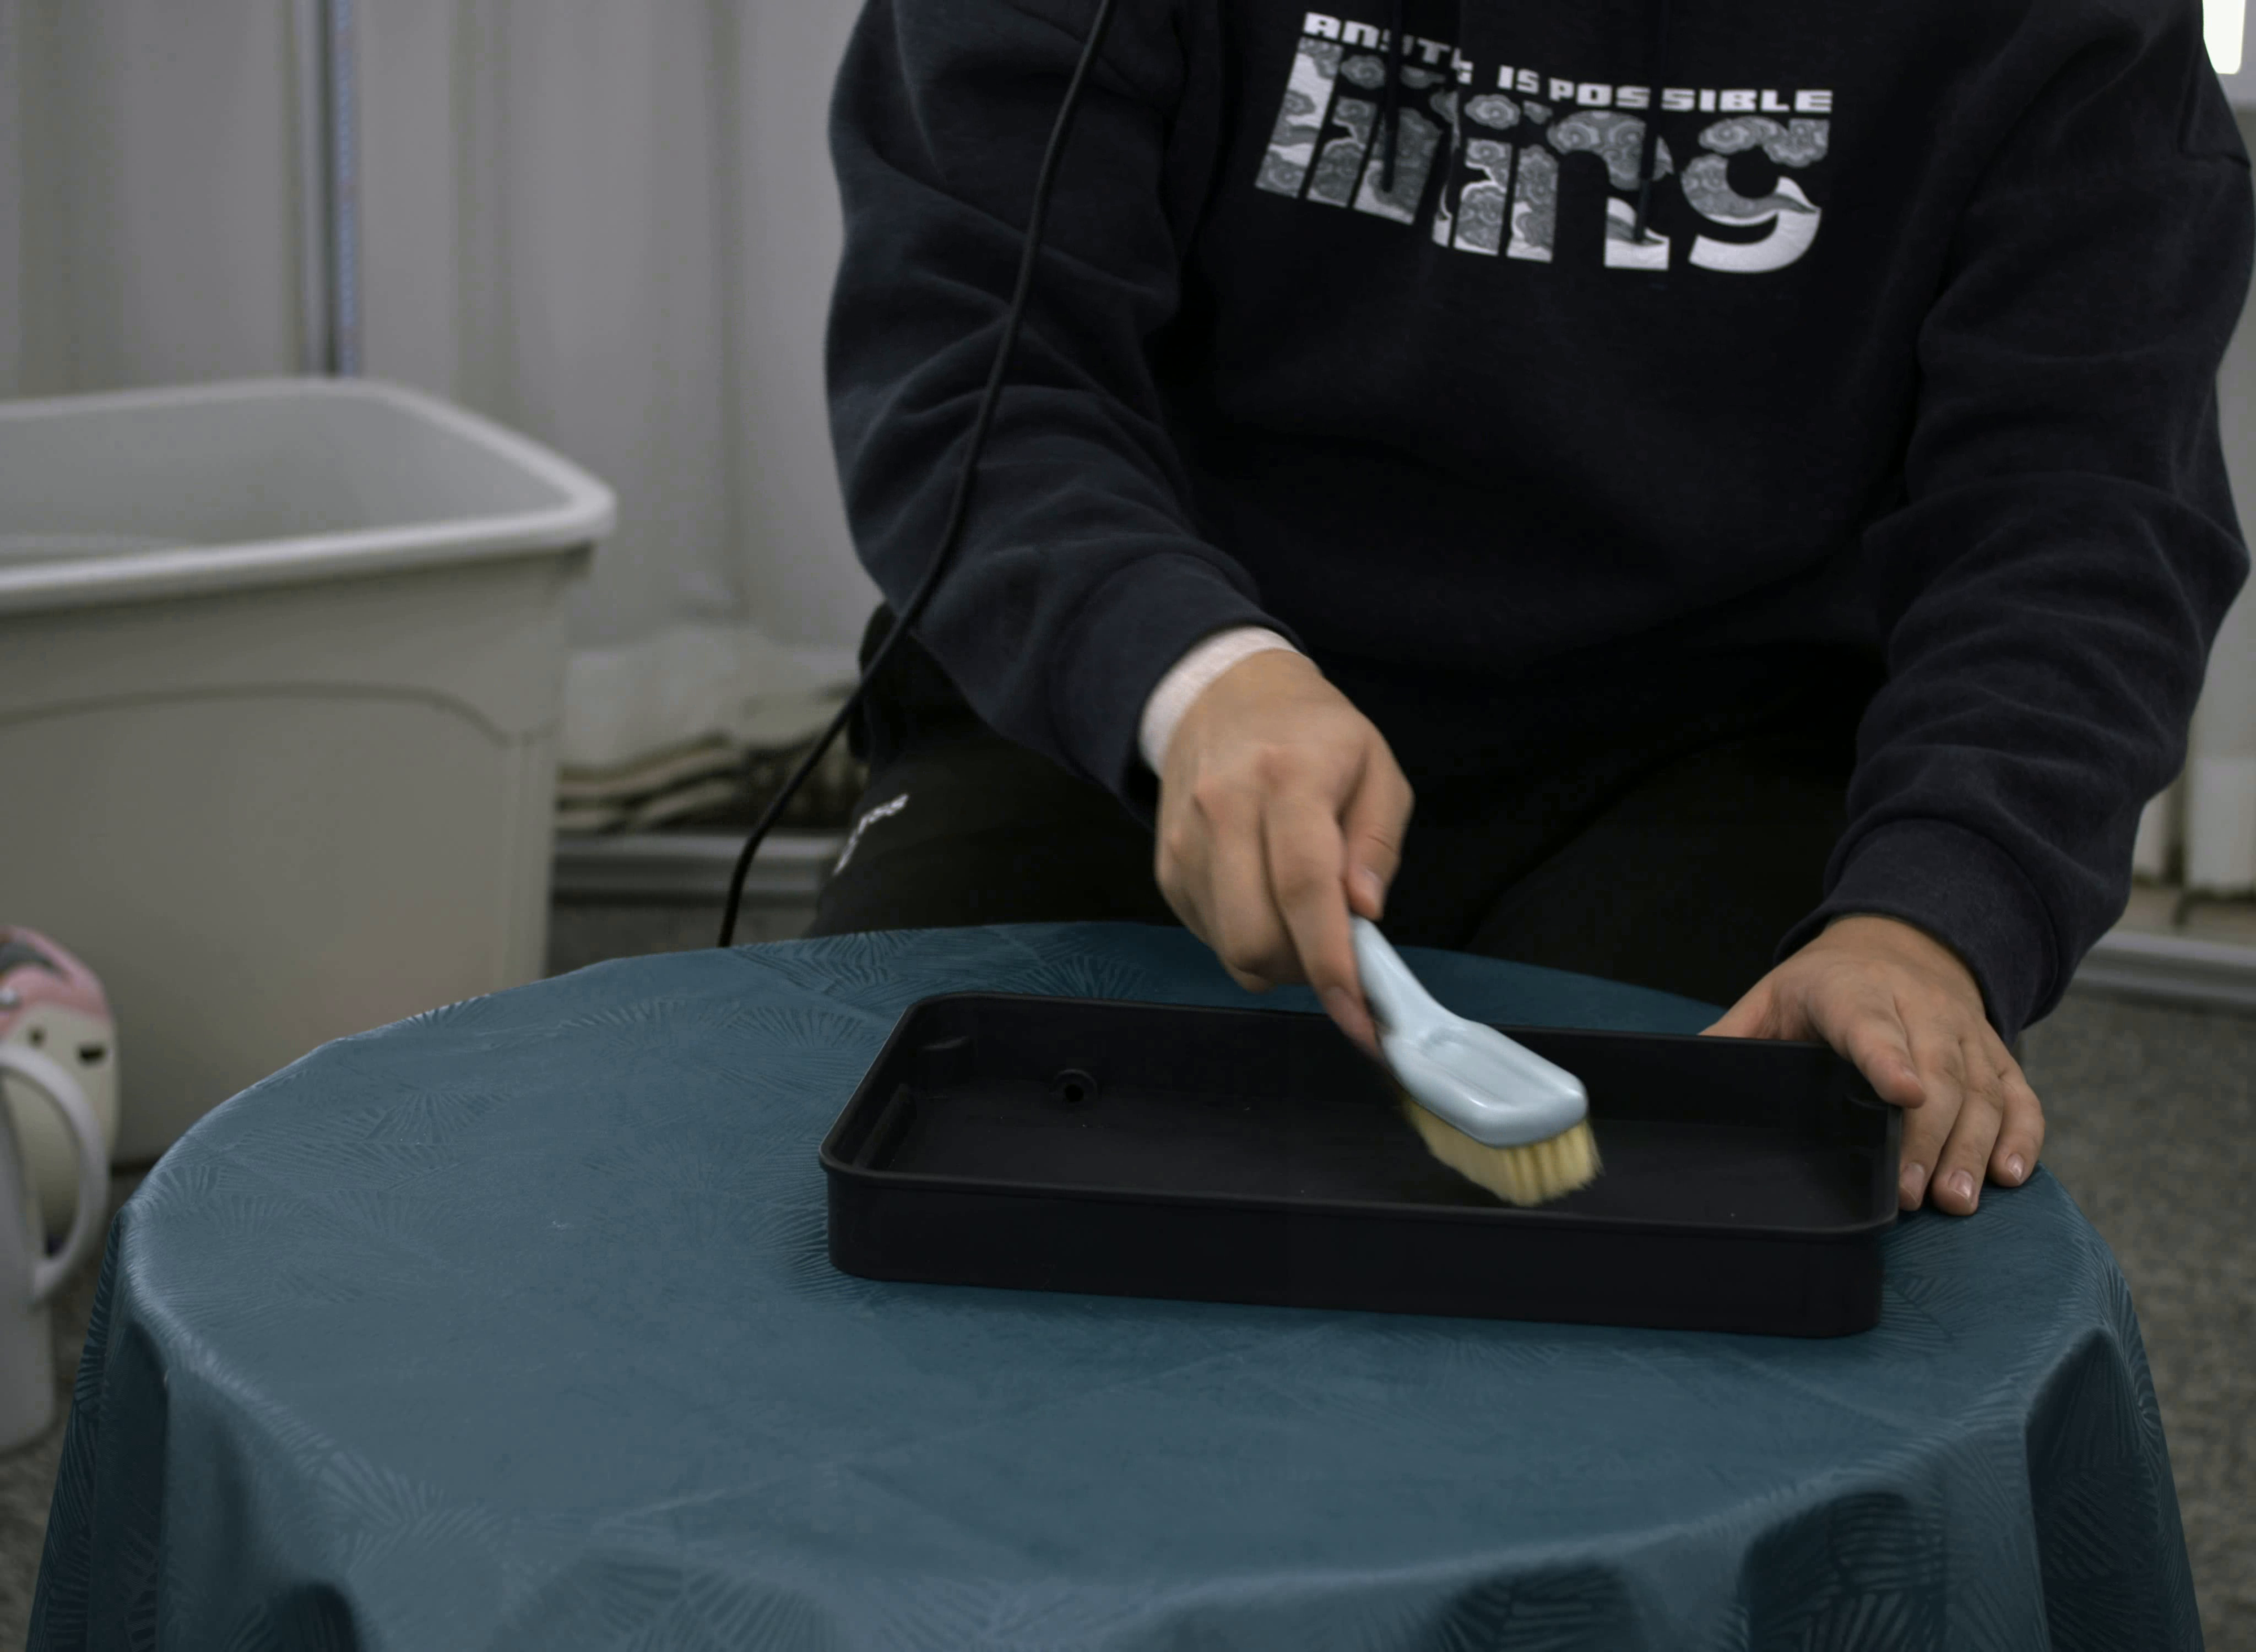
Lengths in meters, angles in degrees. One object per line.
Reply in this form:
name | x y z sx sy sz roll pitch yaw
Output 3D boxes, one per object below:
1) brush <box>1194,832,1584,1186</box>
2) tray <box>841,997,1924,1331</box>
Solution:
brush | 0.077 0.055 1.648 0.038 0.050 0.225 -27 32 -15
tray | 0.081 0.101 1.606 0.316 0.037 0.184 2 15 6
